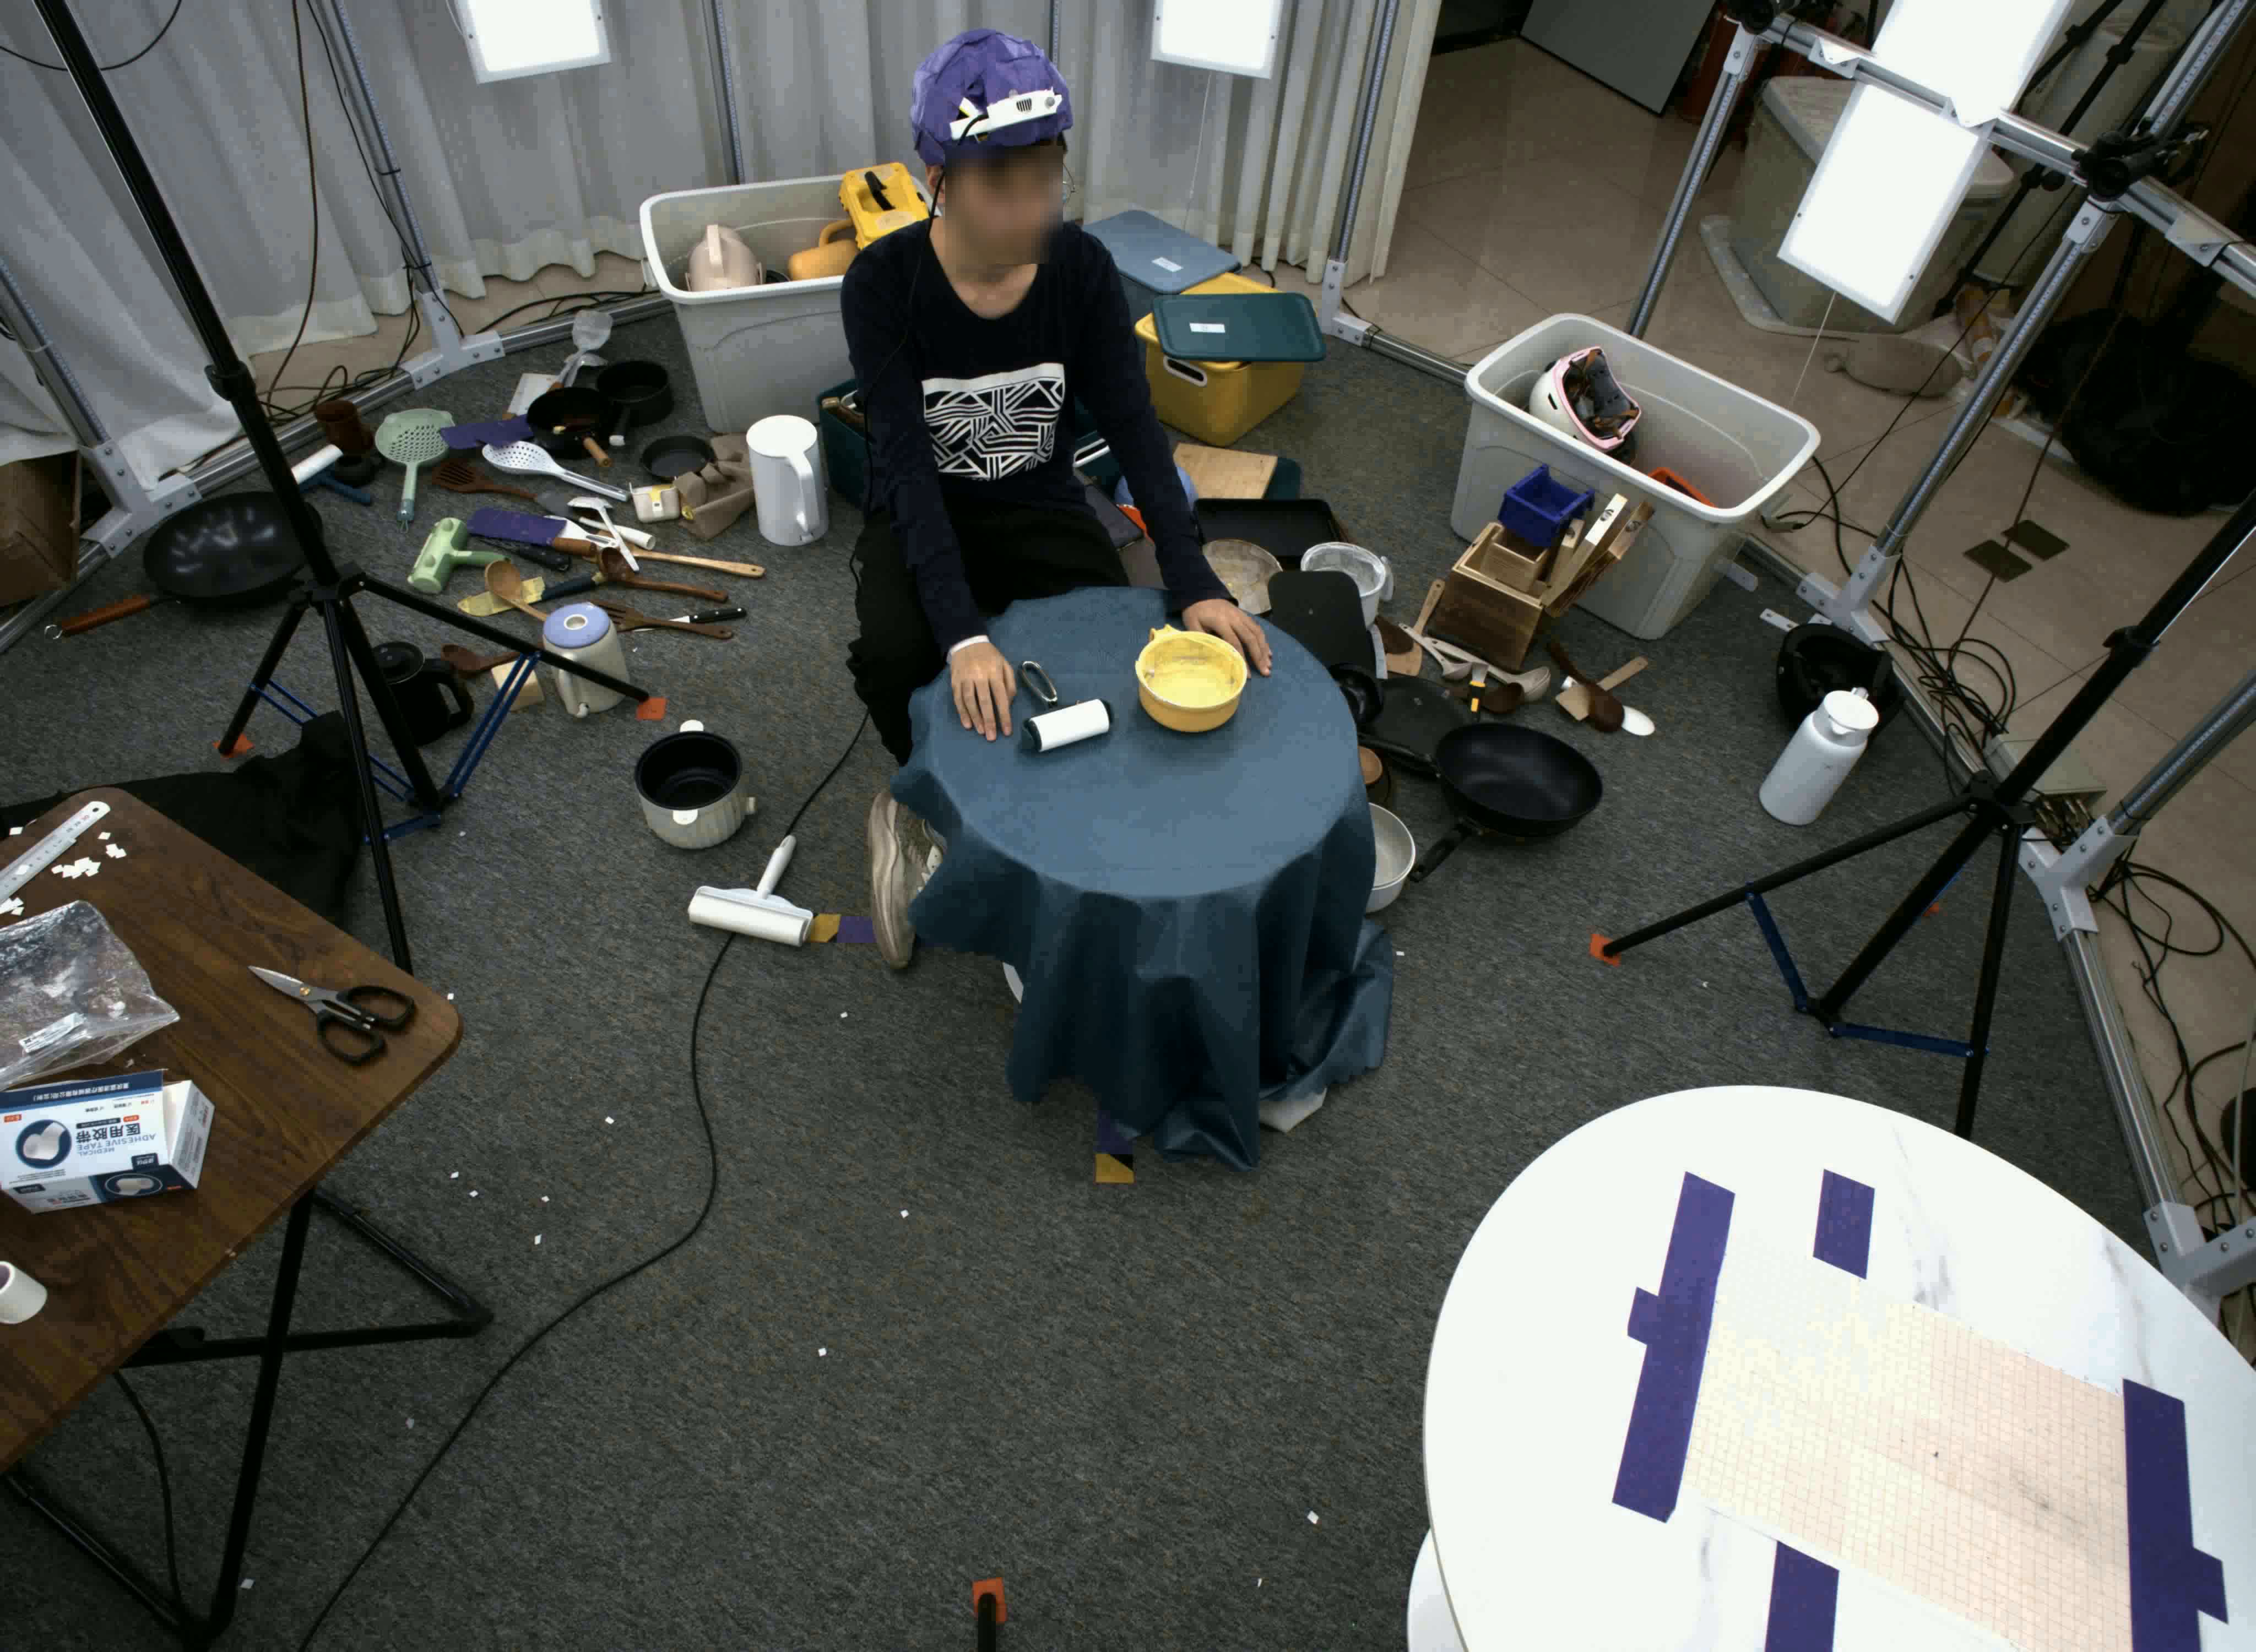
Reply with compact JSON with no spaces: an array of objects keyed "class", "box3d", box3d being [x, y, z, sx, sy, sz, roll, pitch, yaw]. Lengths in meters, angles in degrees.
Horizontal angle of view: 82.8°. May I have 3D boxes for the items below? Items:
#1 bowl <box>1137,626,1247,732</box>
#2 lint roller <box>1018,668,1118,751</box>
[{"class":"bowl","box3d":[0.082,-0.208,1.811,0.153,0.072,0.183,-24,55,-21]},{"class":"lint roller","box3d":[-0.110,-0.183,1.794,0.134,0.047,0.184,-18,49,-18]}]
